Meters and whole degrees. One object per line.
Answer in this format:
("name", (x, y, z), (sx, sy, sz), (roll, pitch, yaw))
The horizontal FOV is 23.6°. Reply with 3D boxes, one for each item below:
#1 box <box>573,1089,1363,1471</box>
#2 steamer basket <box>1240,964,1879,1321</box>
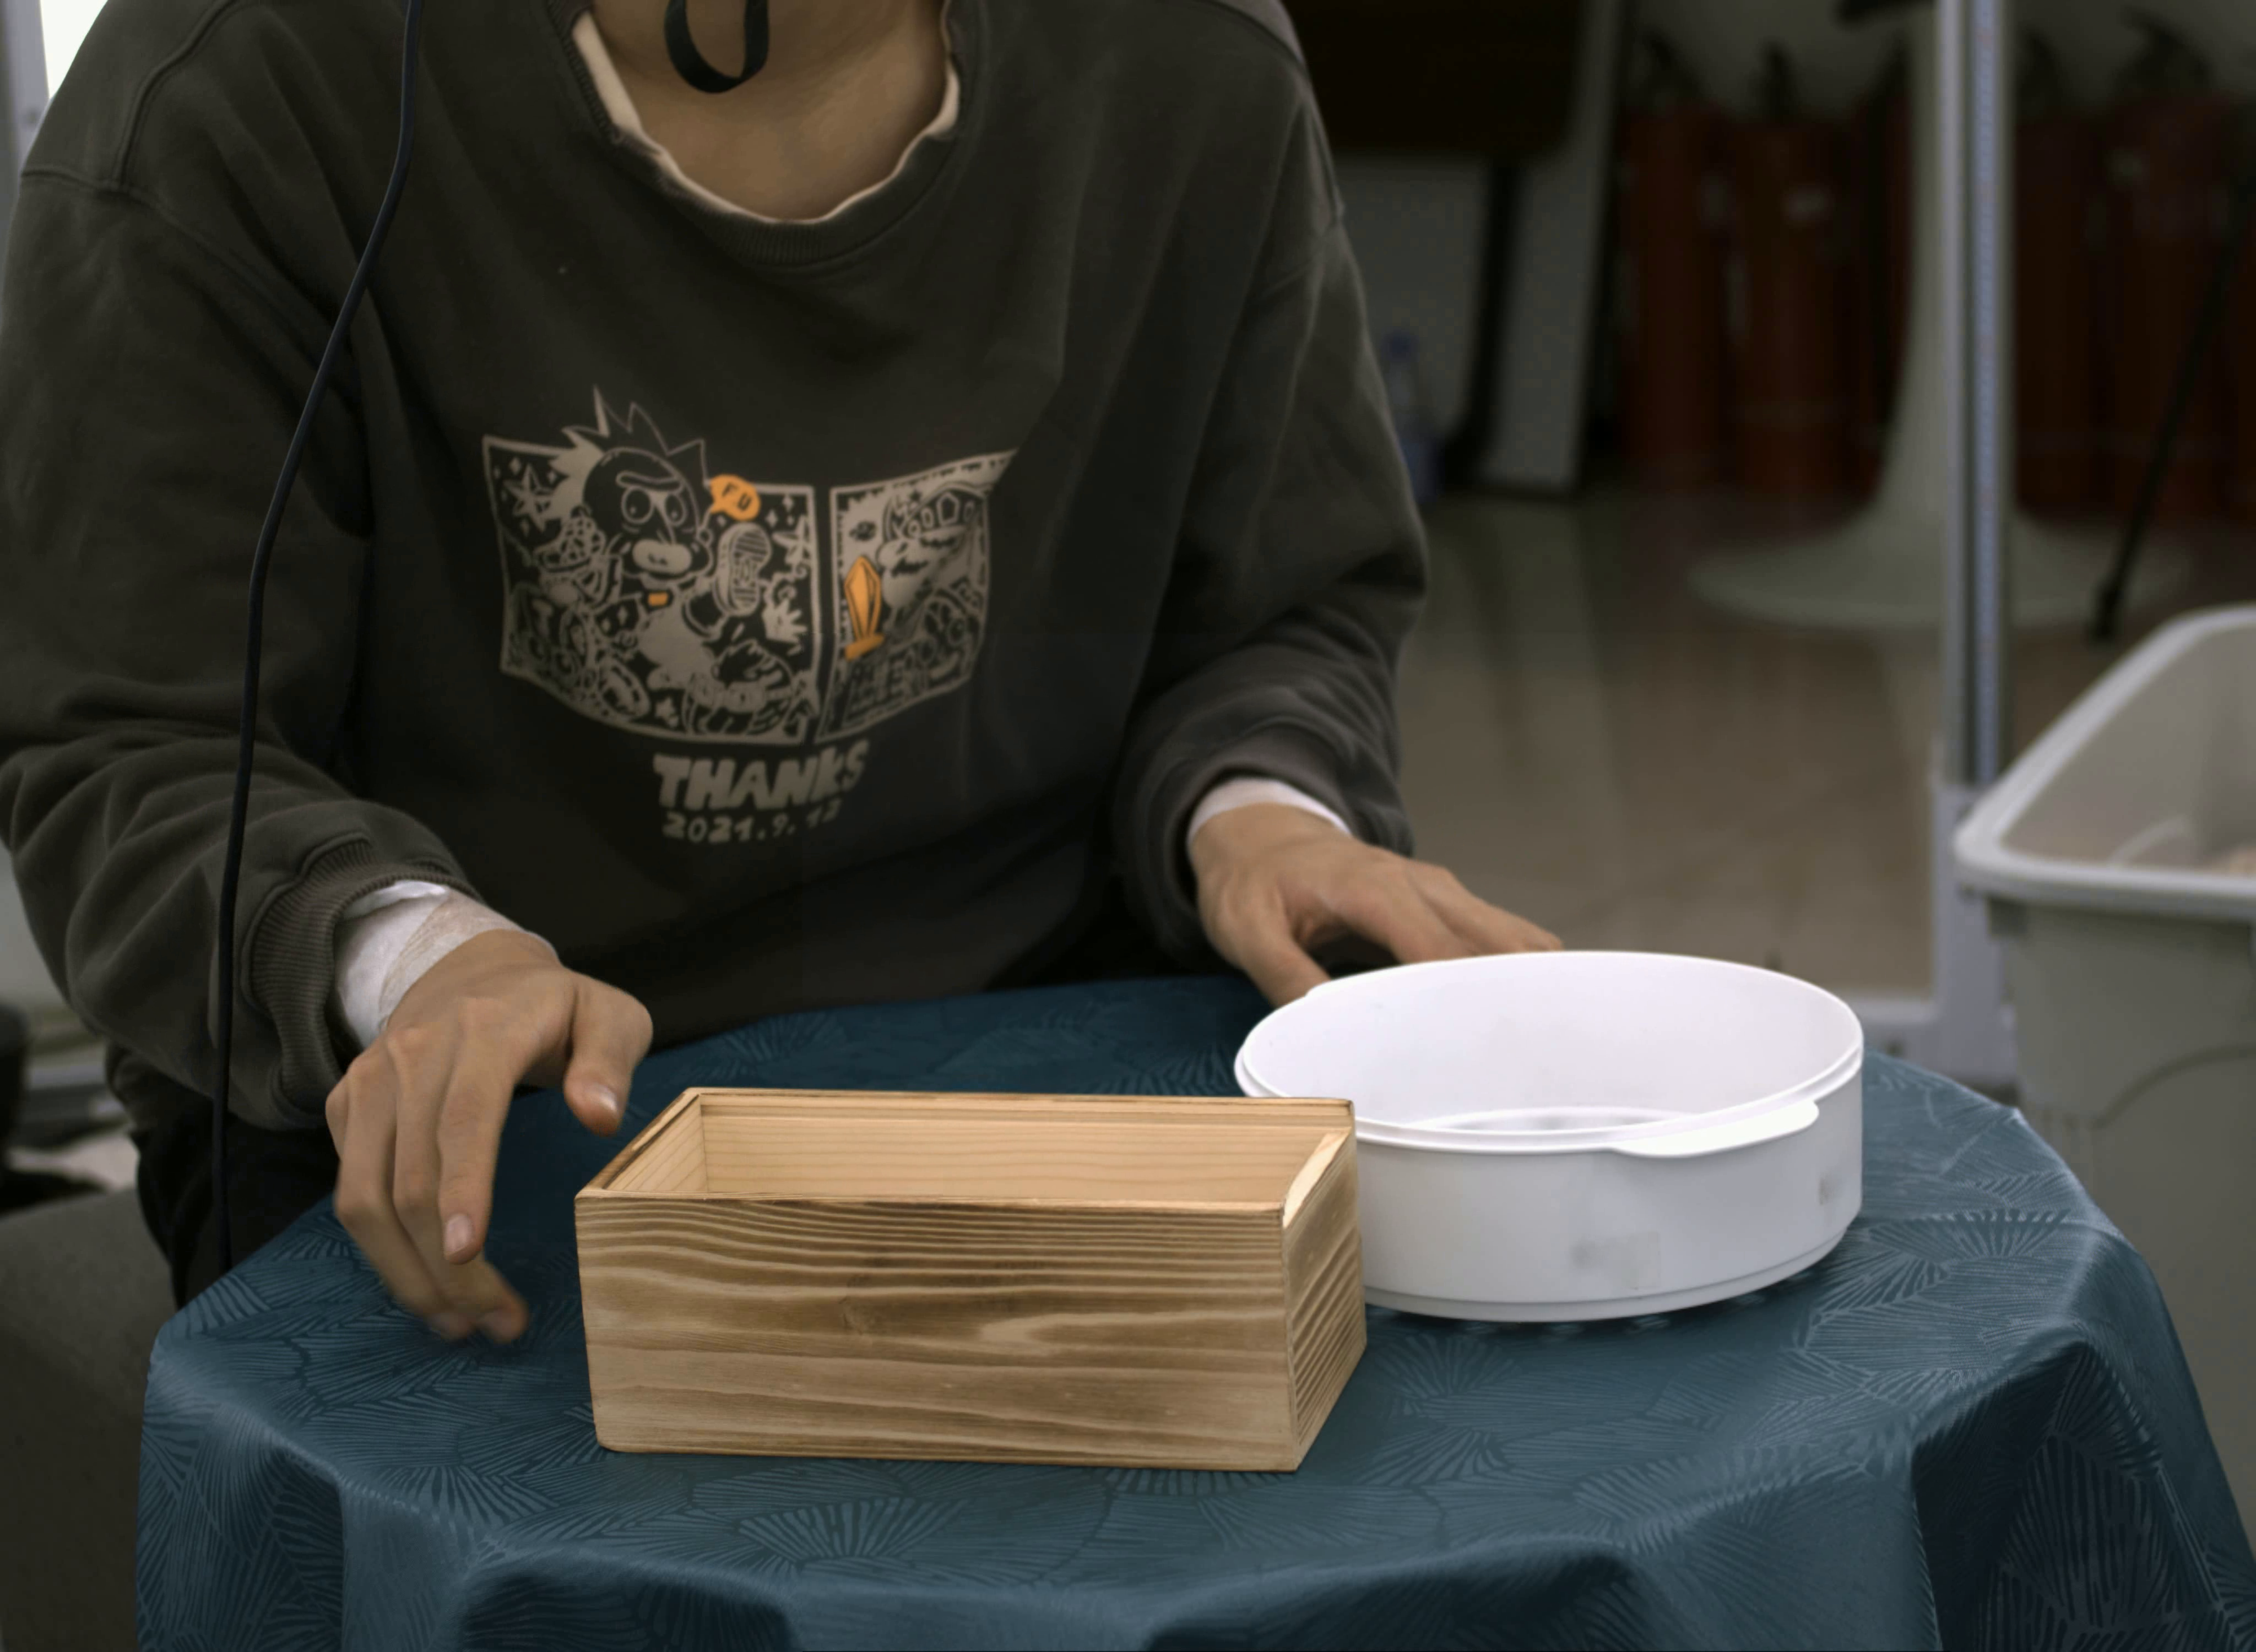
("box", (-0.044, 0.131, 1.579), (0.210, 0.081, 0.107), (0, 13, 15))
("steamer basket", (0.136, 0.099, 1.684), (0.197, 0.070, 0.233), (-10, 13, -24))
